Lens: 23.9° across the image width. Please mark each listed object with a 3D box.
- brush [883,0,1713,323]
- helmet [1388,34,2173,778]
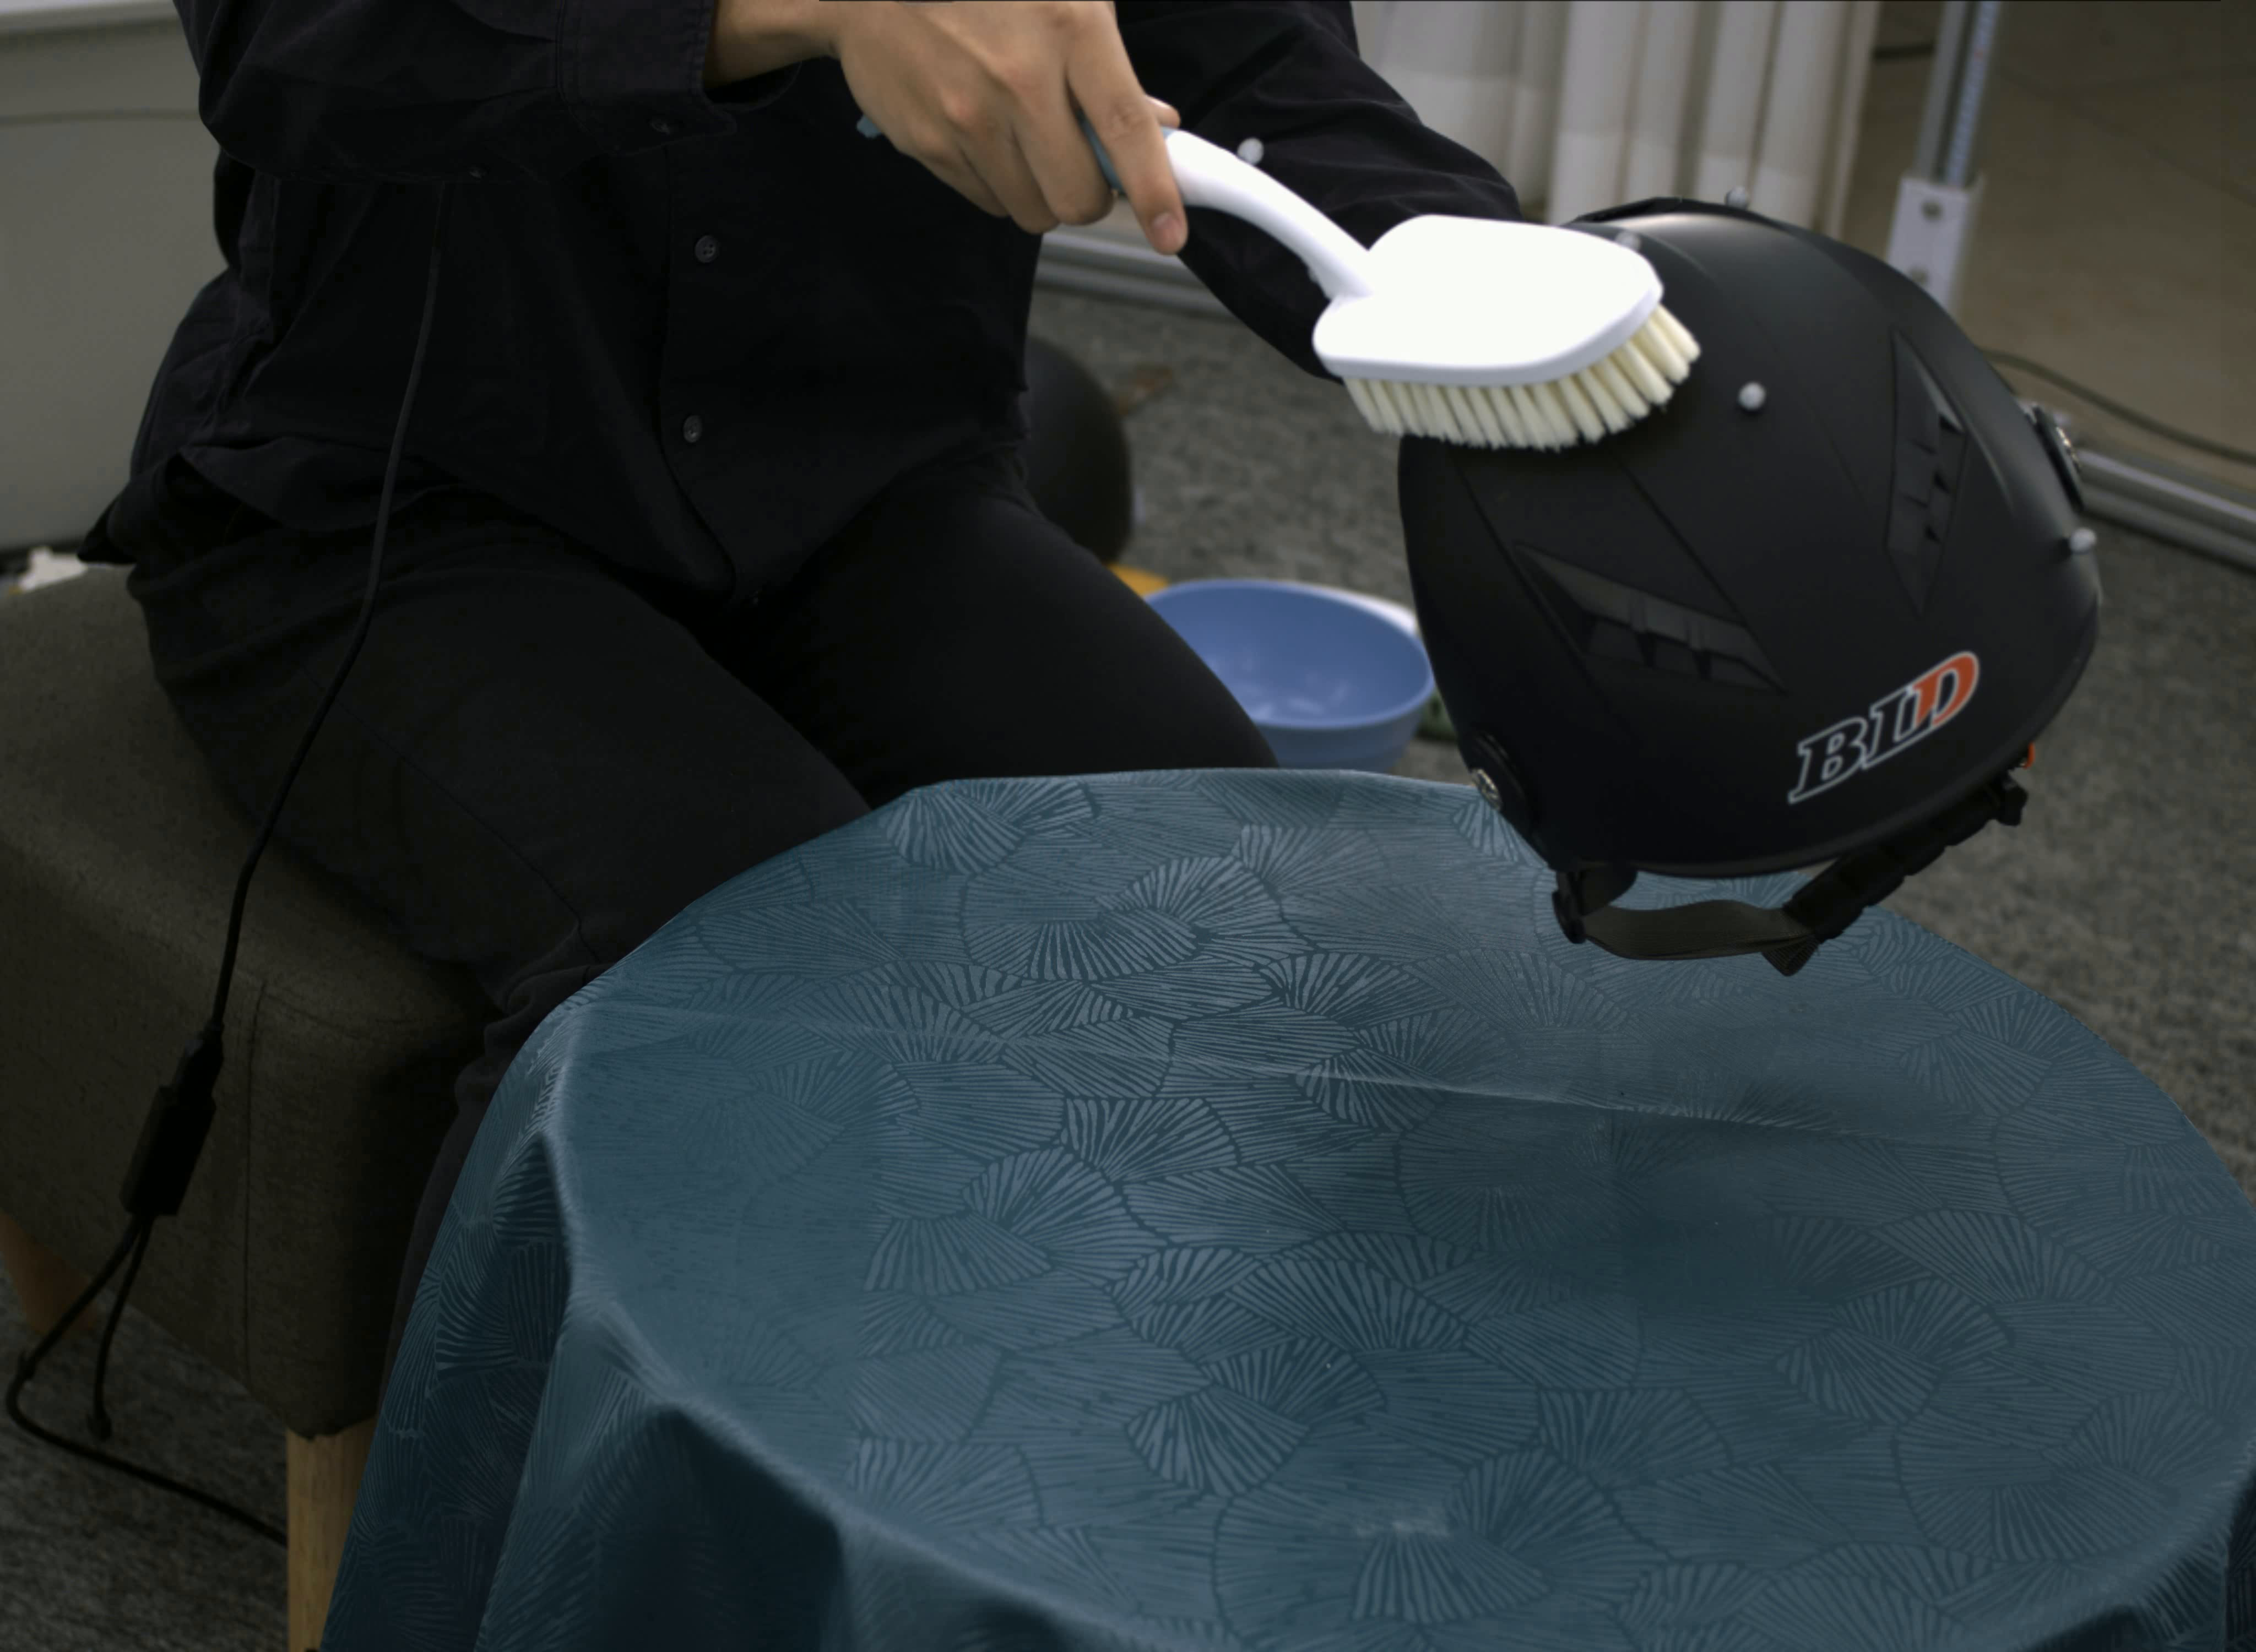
[{"bbox_3d":[0.057,-0.229,1.797,0.327,0.084,0.082,19,22,33],"label":"brush"},{"bbox_3d":[0.206,-0.152,1.799,0.246,0.171,0.279,-30,33,0],"label":"helmet"}]
